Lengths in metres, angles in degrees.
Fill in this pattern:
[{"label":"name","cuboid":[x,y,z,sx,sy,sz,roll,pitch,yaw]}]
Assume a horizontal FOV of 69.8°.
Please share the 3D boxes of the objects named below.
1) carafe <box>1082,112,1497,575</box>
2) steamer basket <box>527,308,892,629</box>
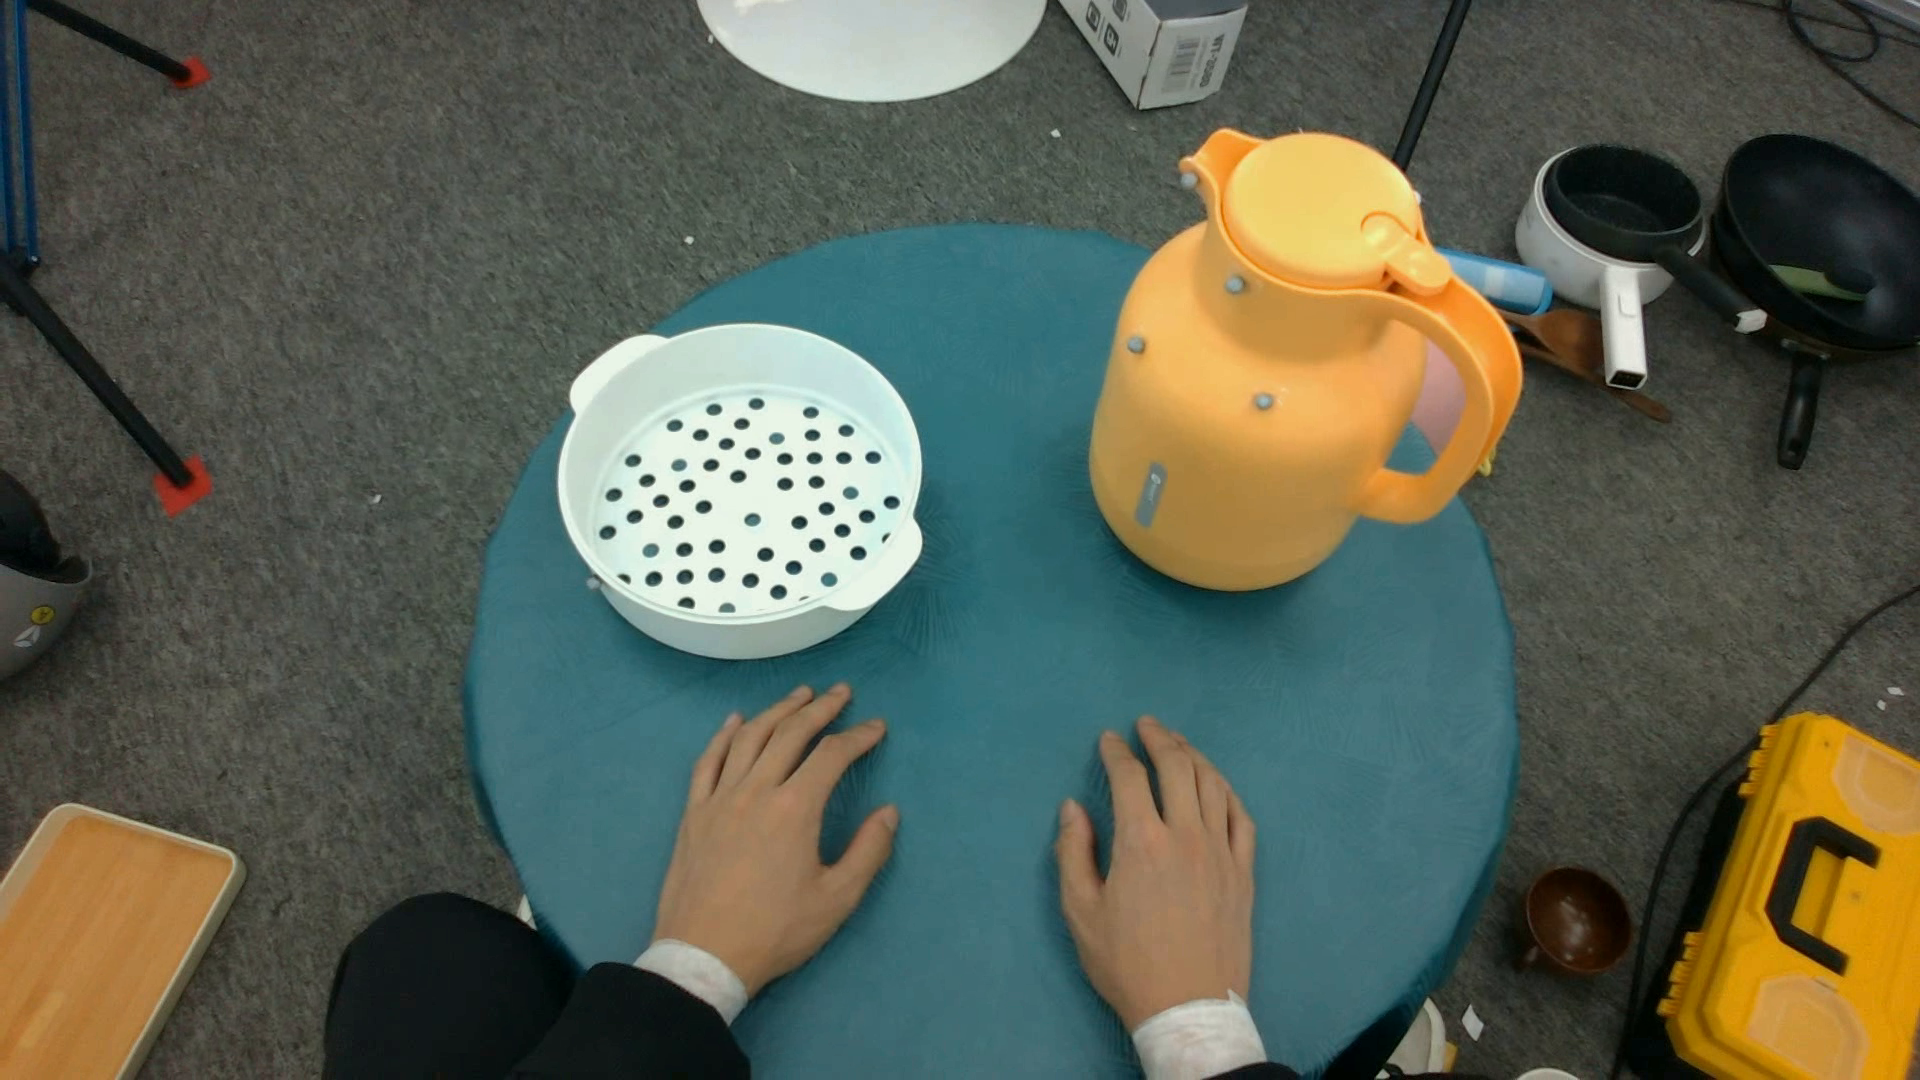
[{"label":"carafe","cuboid":[0.167,-0.089,0.730,0.202,0.259,0.164,41,68,21]},{"label":"steamer basket","cuboid":[-0.137,-0.042,0.784,0.230,0.069,0.203,31,58,25]}]
